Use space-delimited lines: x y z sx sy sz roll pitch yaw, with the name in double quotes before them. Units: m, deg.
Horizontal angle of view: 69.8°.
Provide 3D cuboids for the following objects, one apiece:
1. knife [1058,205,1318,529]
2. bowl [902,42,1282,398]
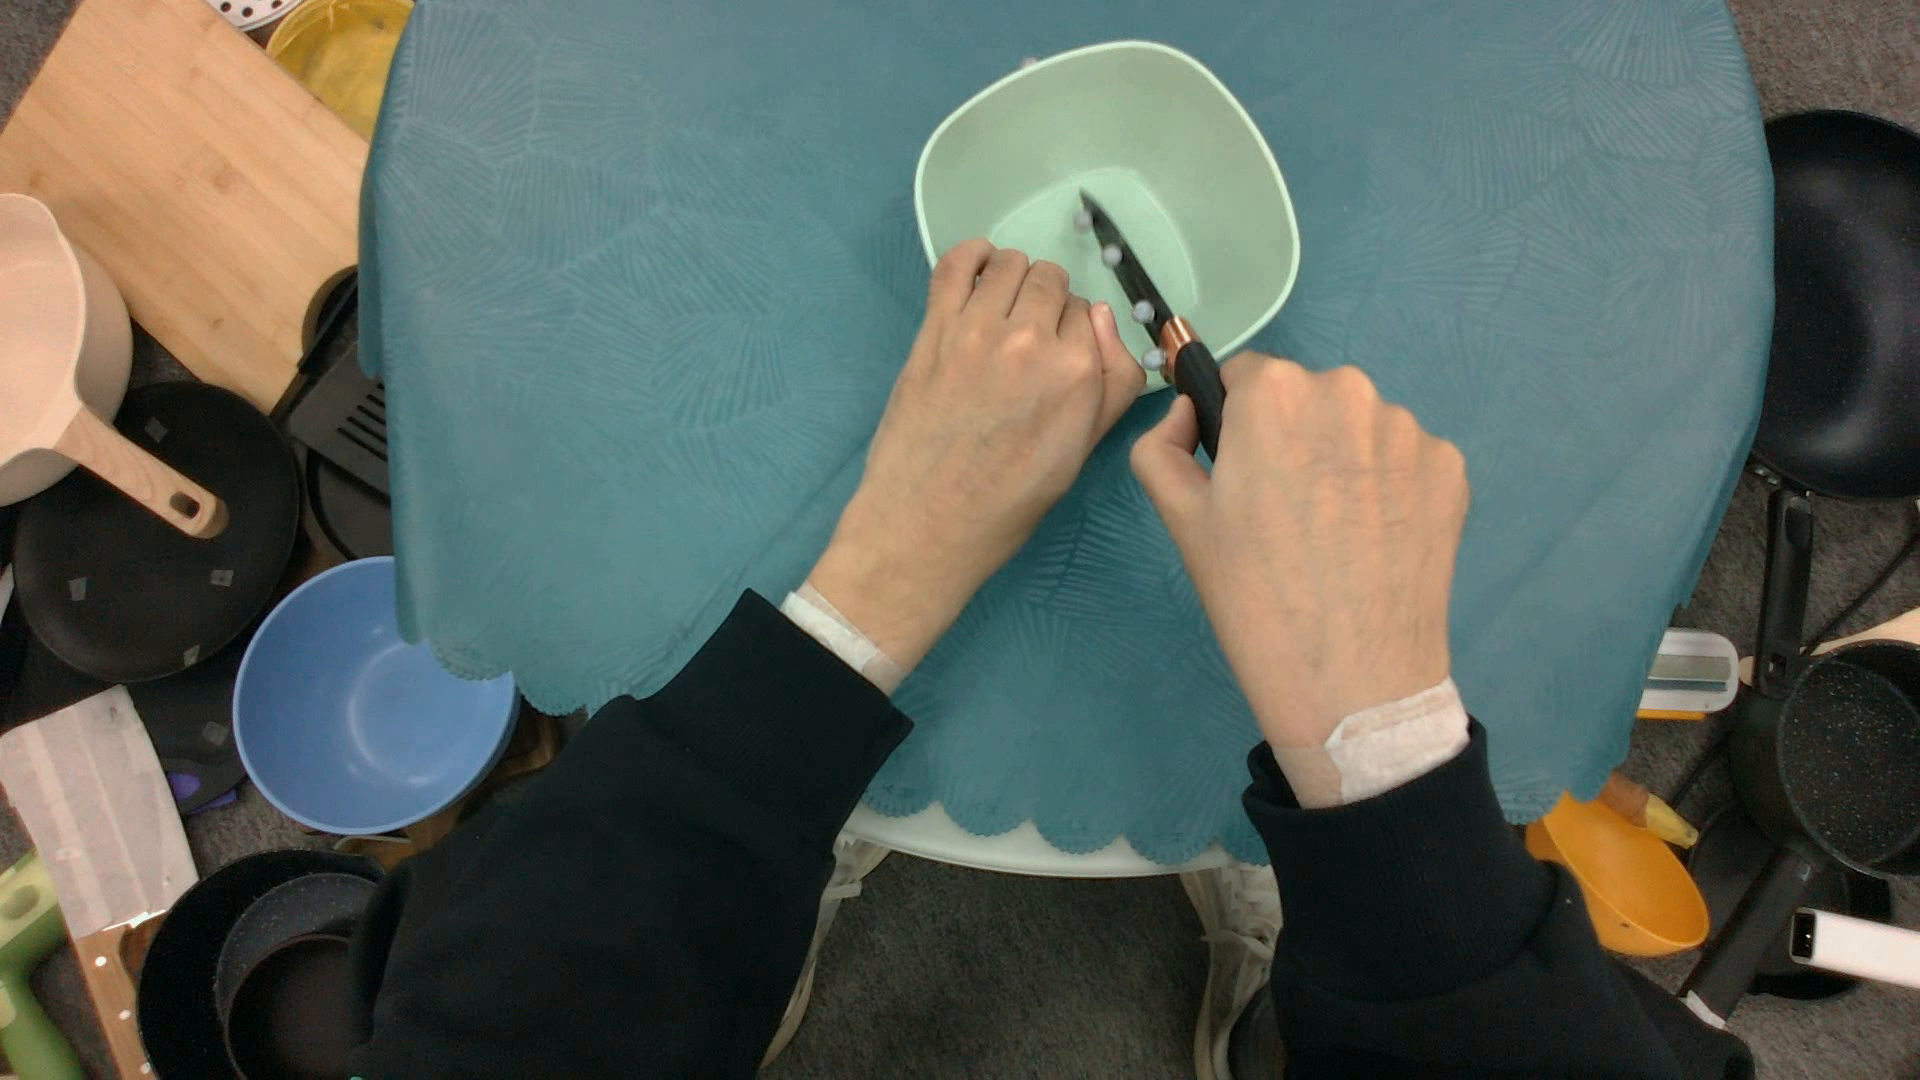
"knife" 0.074 -0.077 0.506 0.017 0.026 0.226 -14 42 -9
"bowl" 0.050 -0.121 0.558 0.151 0.058 0.151 1 78 -3
